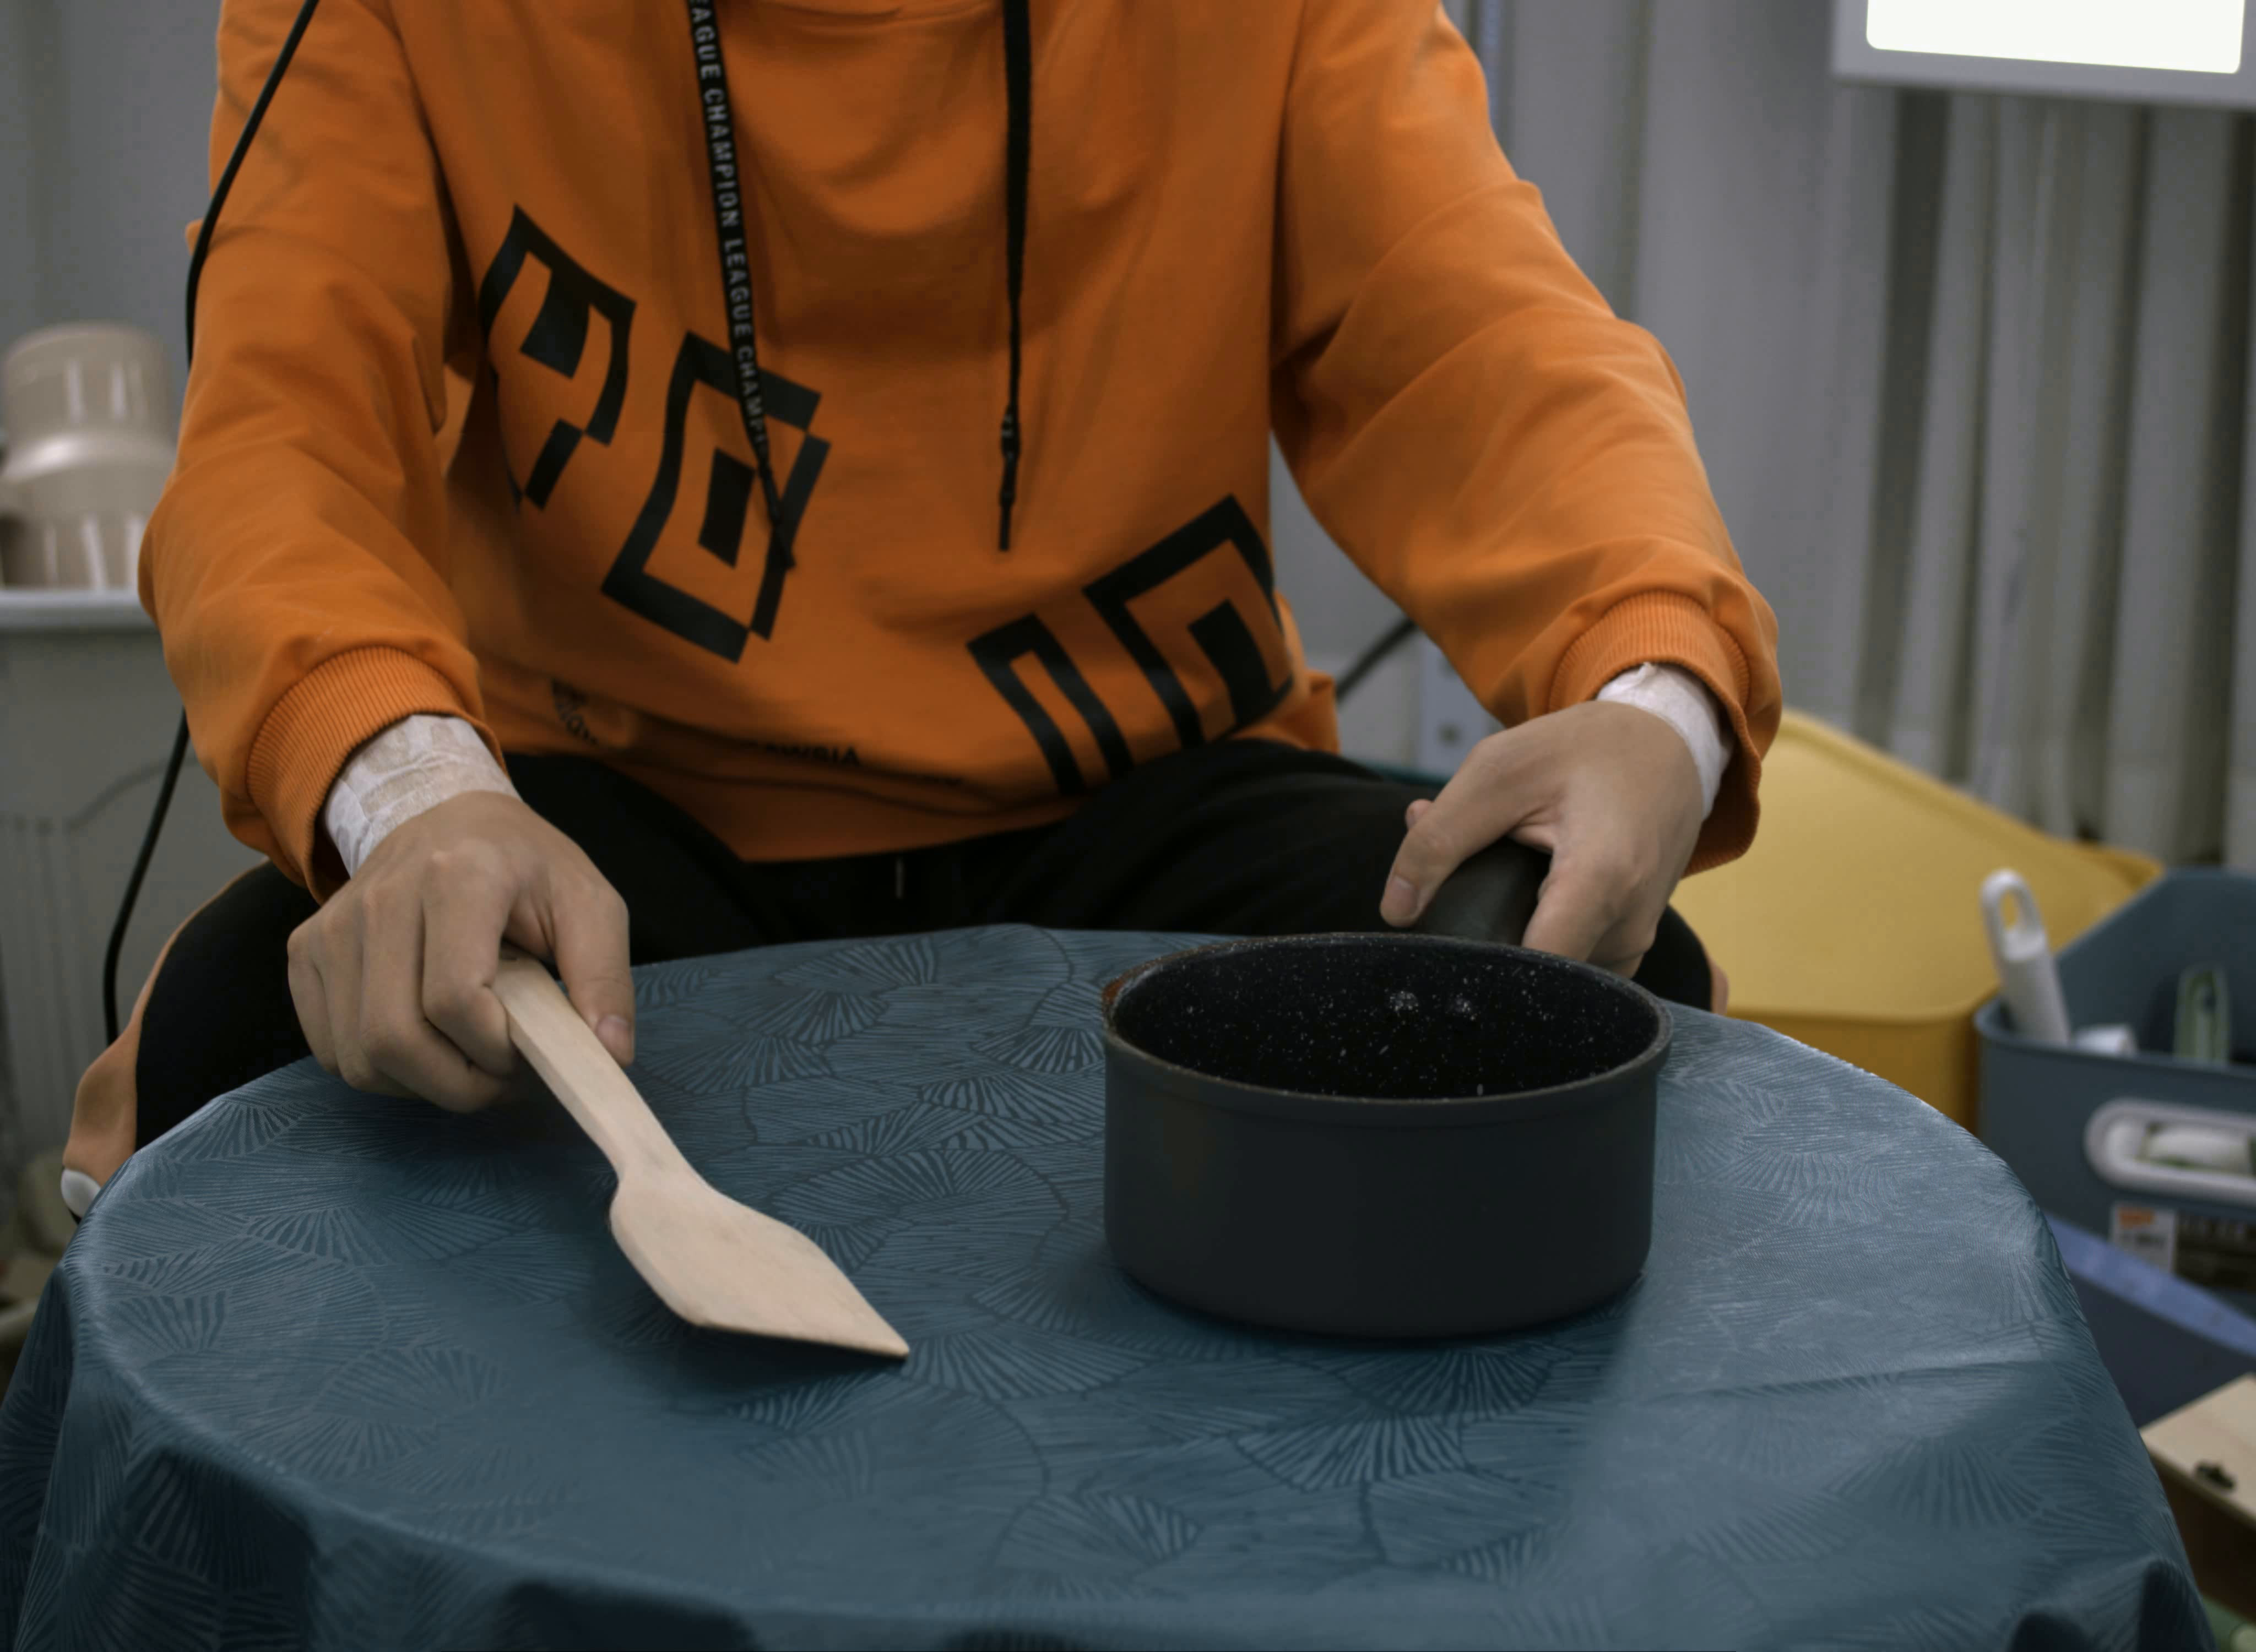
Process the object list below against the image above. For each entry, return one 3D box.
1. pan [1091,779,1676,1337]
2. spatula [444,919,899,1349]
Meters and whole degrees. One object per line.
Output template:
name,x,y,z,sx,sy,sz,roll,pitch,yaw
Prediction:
pan,0.097,0.067,1.630,0.170,0.087,0.328,6,17,16
spatula,-0.153,0.088,1.584,0.073,0.011,0.289,10,18,-30
